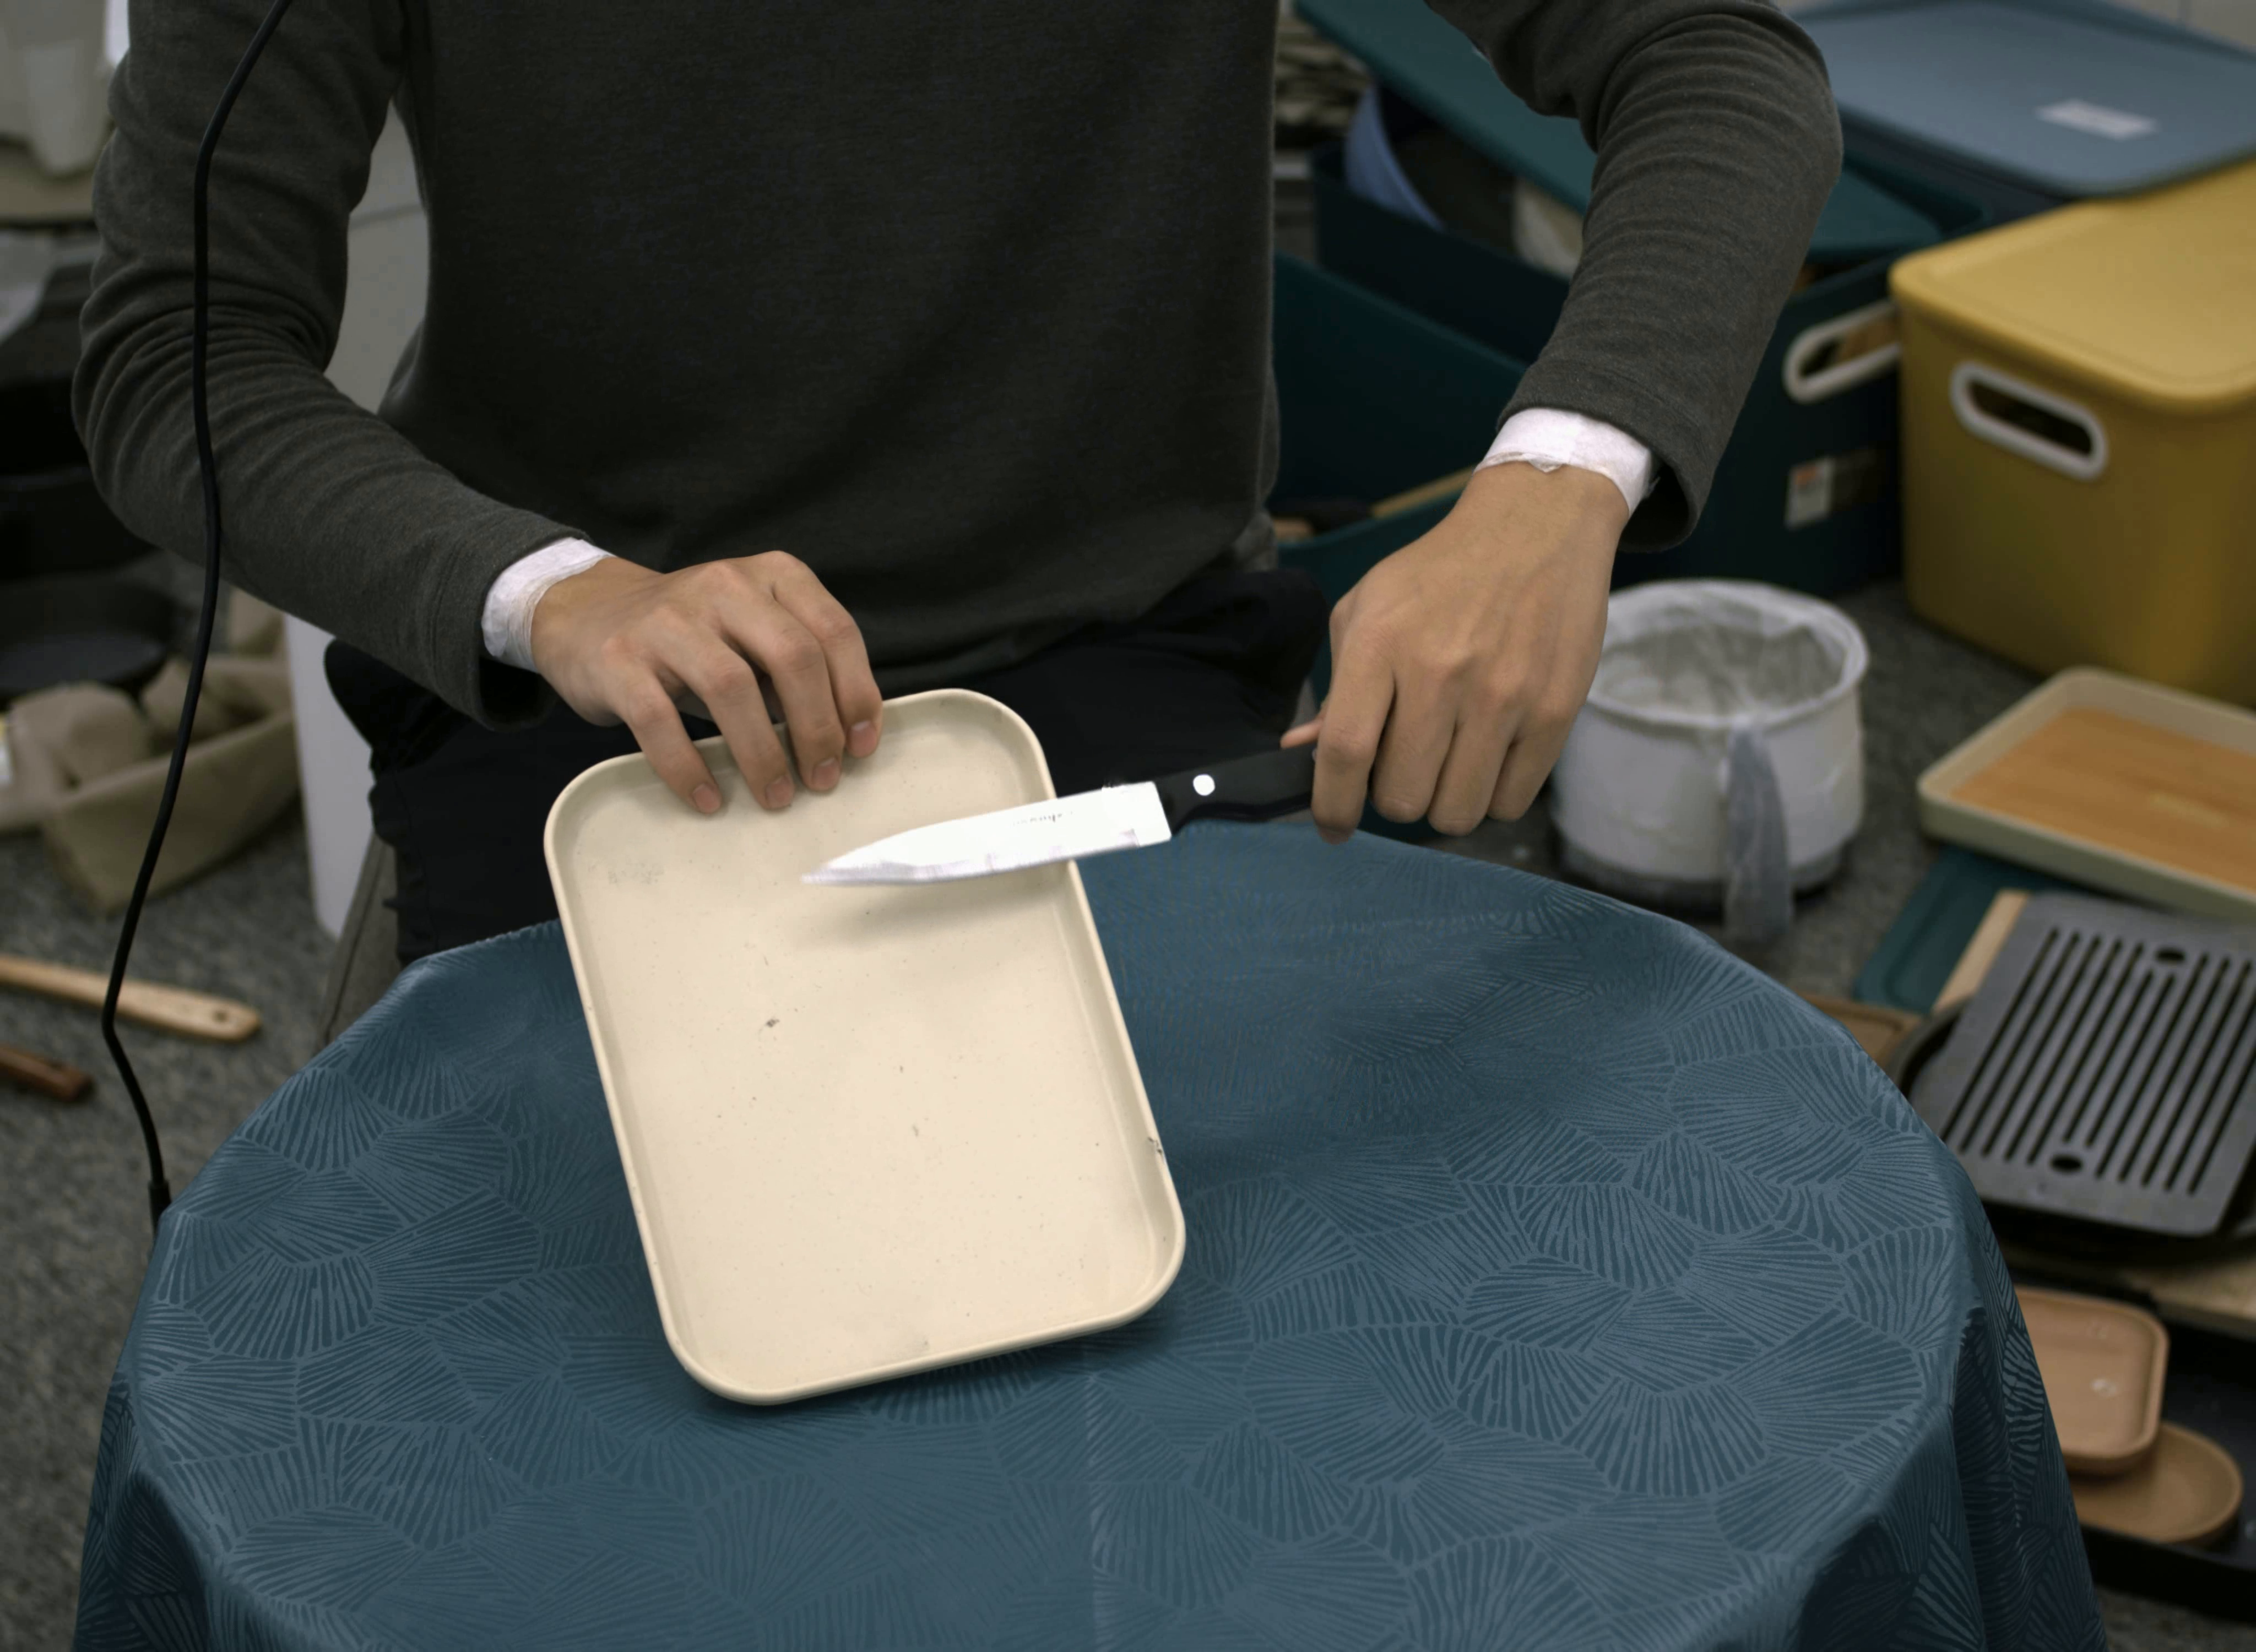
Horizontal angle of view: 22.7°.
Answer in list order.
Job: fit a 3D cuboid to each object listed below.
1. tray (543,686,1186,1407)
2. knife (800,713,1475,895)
[{"bbox_3d":[-0.087,0.070,1.821,0.171,0.017,0.243,-12,61,-10],"label":"tray"},{"bbox_3d":[0.003,-0.007,1.865,0.238,0.016,0.025,-13,64,-17],"label":"knife"}]
